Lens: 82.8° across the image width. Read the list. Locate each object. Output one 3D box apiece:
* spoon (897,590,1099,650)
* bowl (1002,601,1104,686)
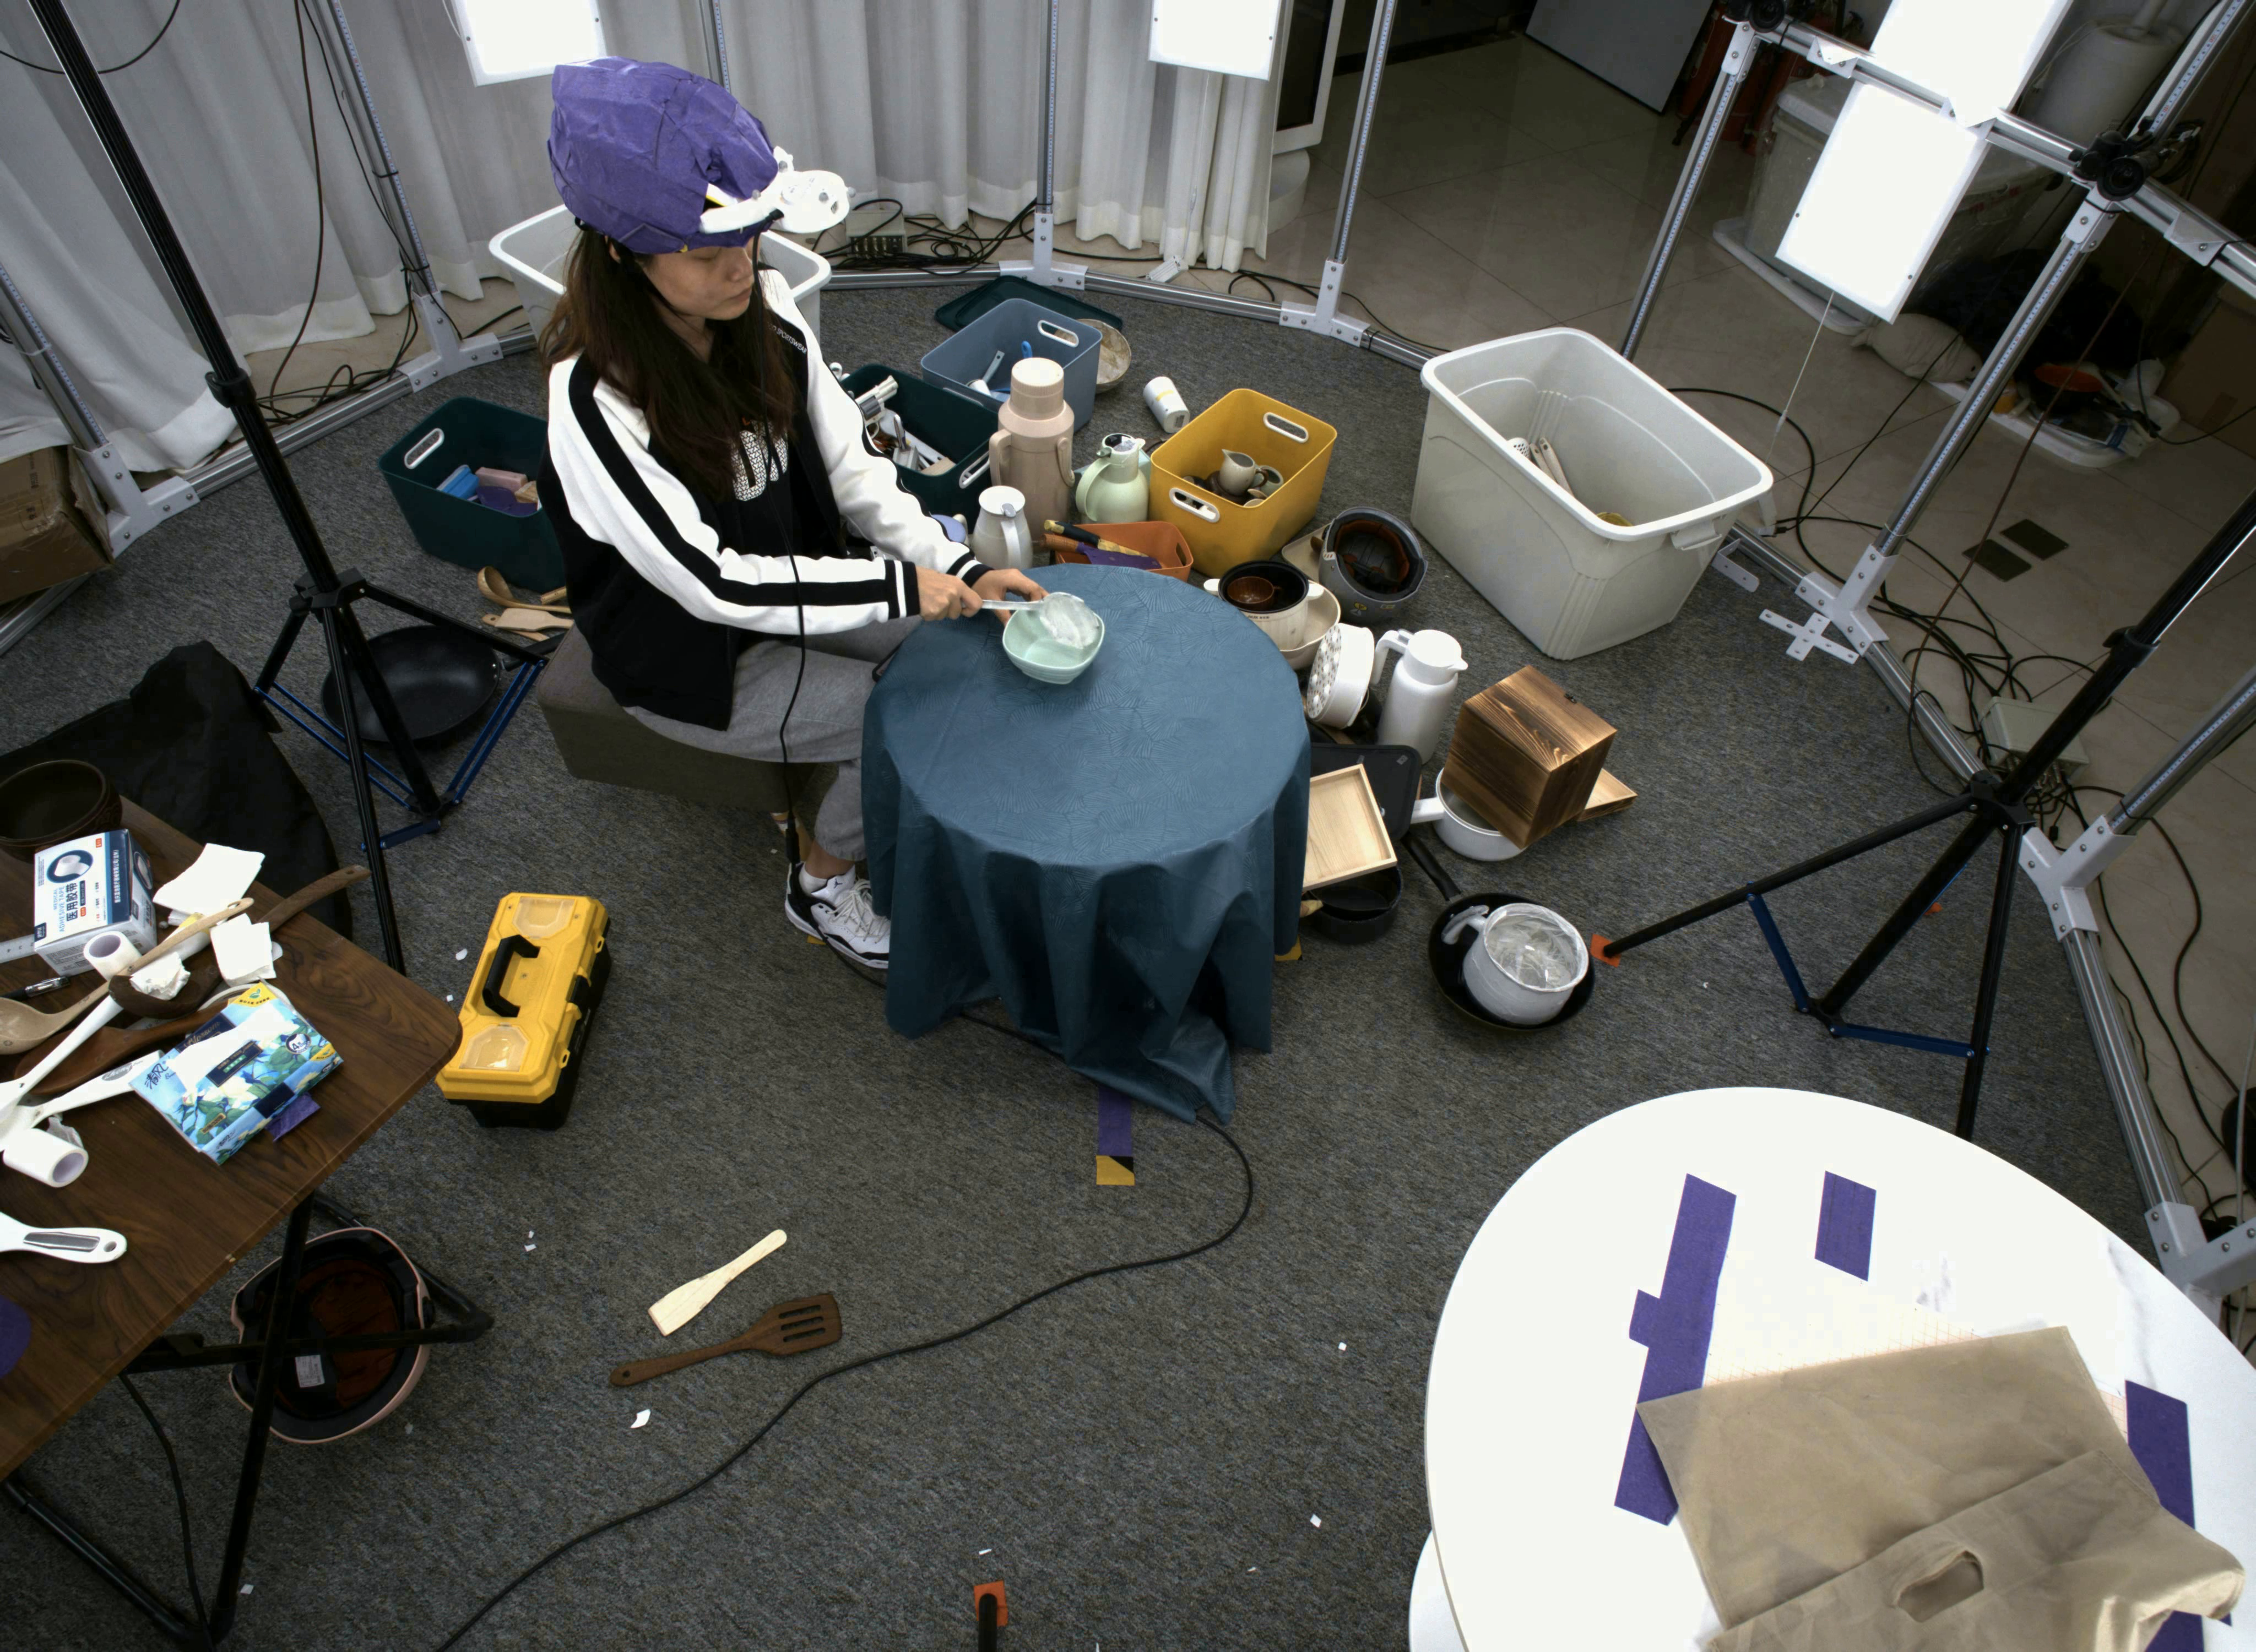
[{"bbox_3d":[-0.178,-0.297,1.792,0.276,0.098,0.061,2,47,-16],"label":"spoon"},{"bbox_3d":[-0.108,-0.255,1.850,0.151,0.057,0.155,2,49,-3],"label":"bowl"}]
